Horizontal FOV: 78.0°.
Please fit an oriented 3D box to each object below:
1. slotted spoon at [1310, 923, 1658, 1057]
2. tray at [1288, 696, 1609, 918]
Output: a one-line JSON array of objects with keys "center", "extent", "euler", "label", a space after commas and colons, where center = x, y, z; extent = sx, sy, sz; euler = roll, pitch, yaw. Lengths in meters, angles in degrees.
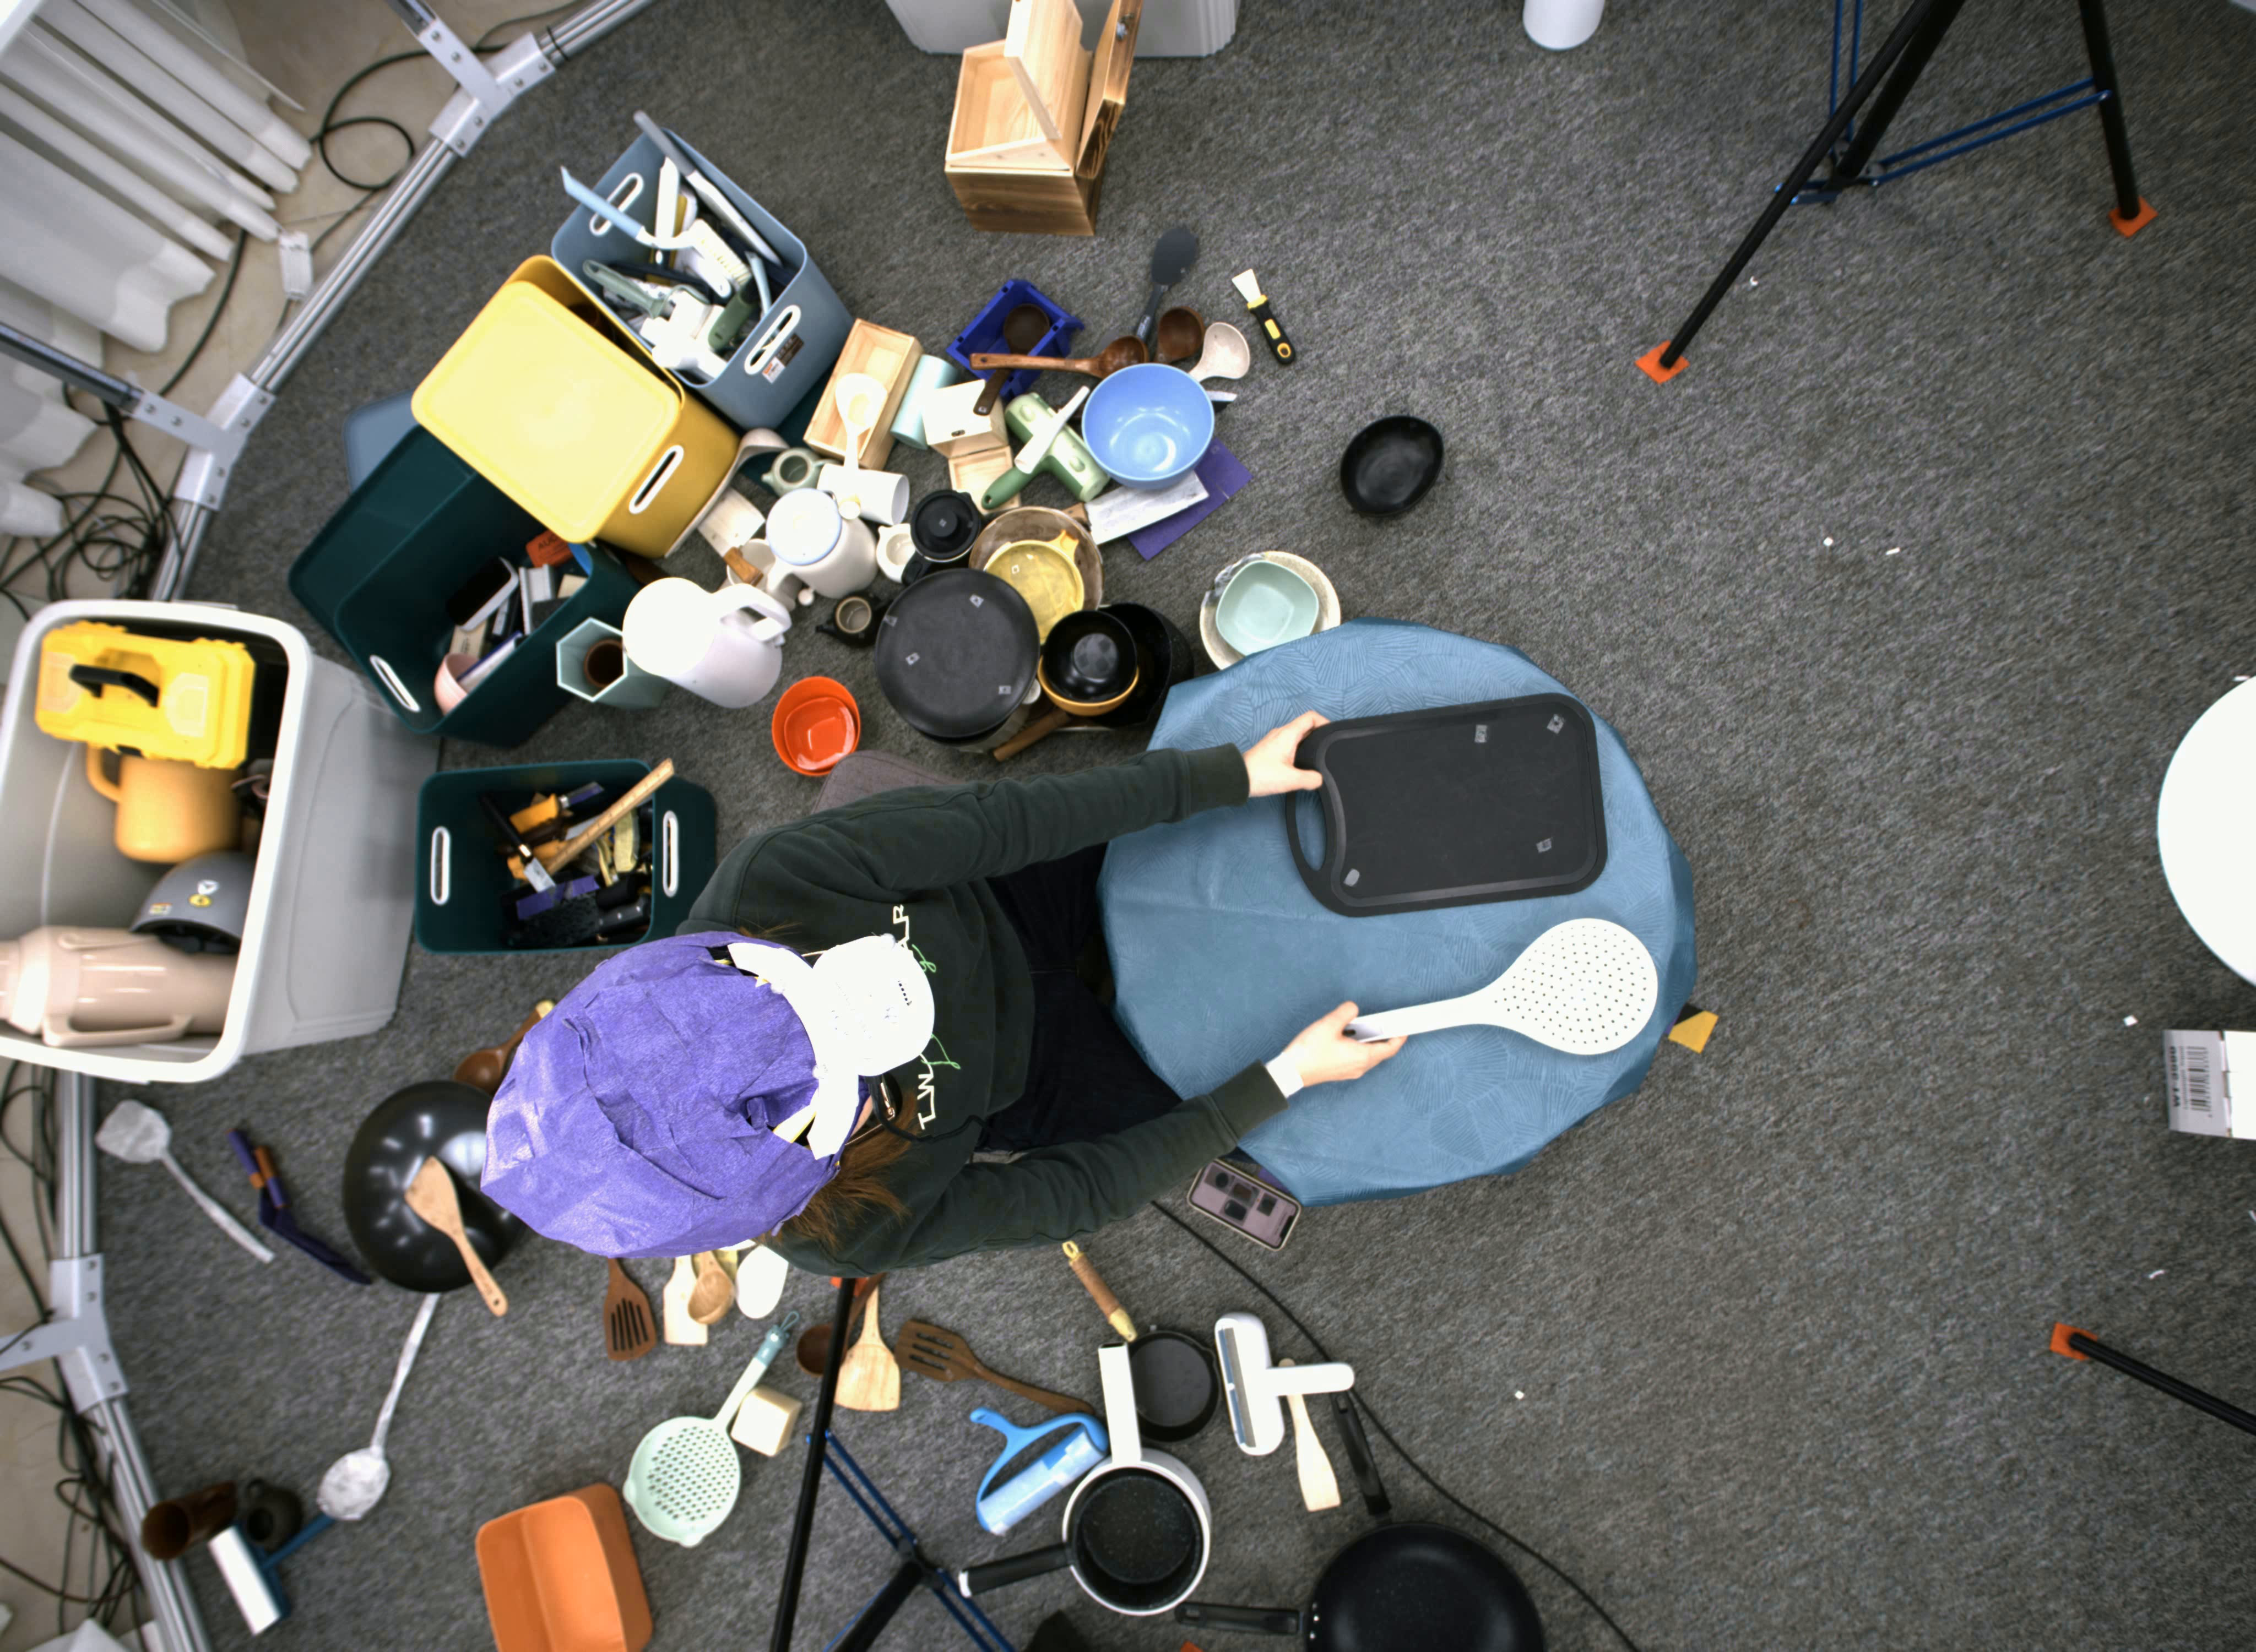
[{"center": [0.360, 0.184, 1.408], "extent": [0.351, 0.045, 0.136], "euler": [-12, 93, 5], "label": "slotted spoon"}, {"center": [0.330, -0.018, 1.433], "extent": [0.327, 0.010, 0.212], "euler": [-7, 98, 9], "label": "tray"}]
